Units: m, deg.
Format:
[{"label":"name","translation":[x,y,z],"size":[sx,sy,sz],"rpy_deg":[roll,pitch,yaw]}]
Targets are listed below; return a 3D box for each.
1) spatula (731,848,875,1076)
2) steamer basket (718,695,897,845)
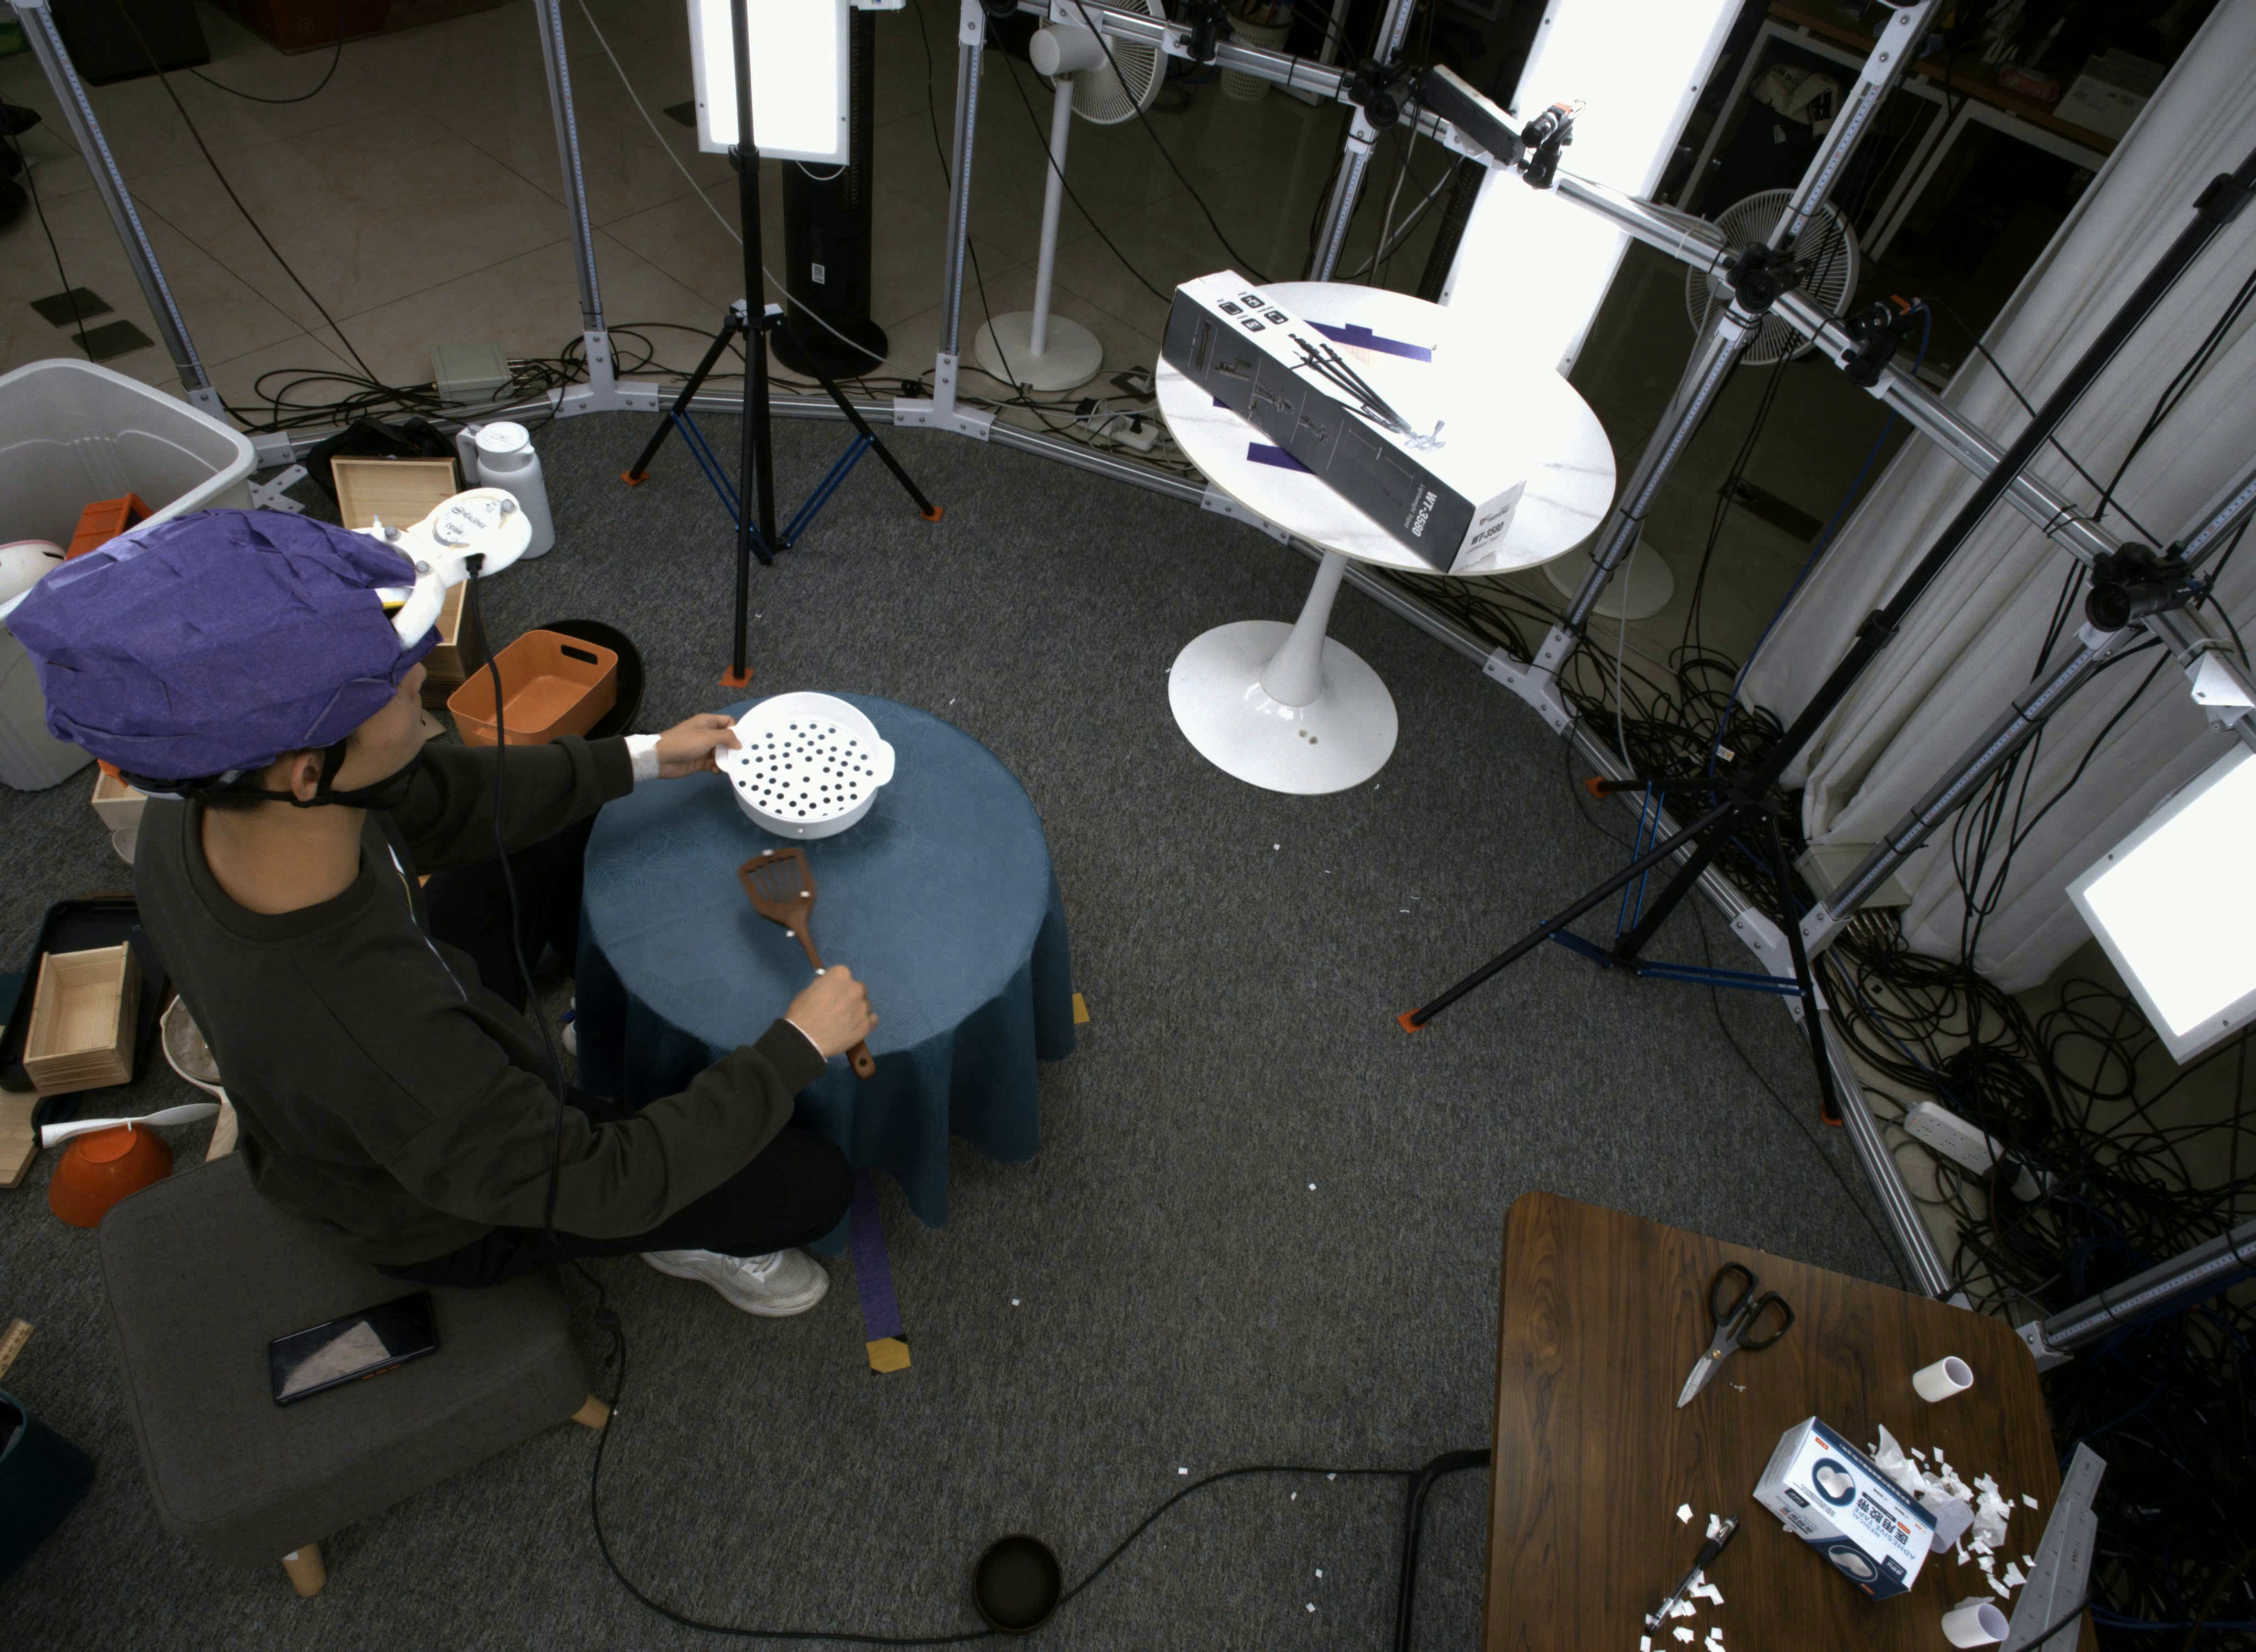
[{"label":"spatula","translation":[-0.369,0.152,1.510],"size":[0.086,0.024,0.372],"rpy_deg":[-22,47,-21]},{"label":"steamer basket","translation":[-0.421,-0.075,1.716],"size":[0.230,0.070,0.199],"rpy_deg":[4,60,-8]}]
